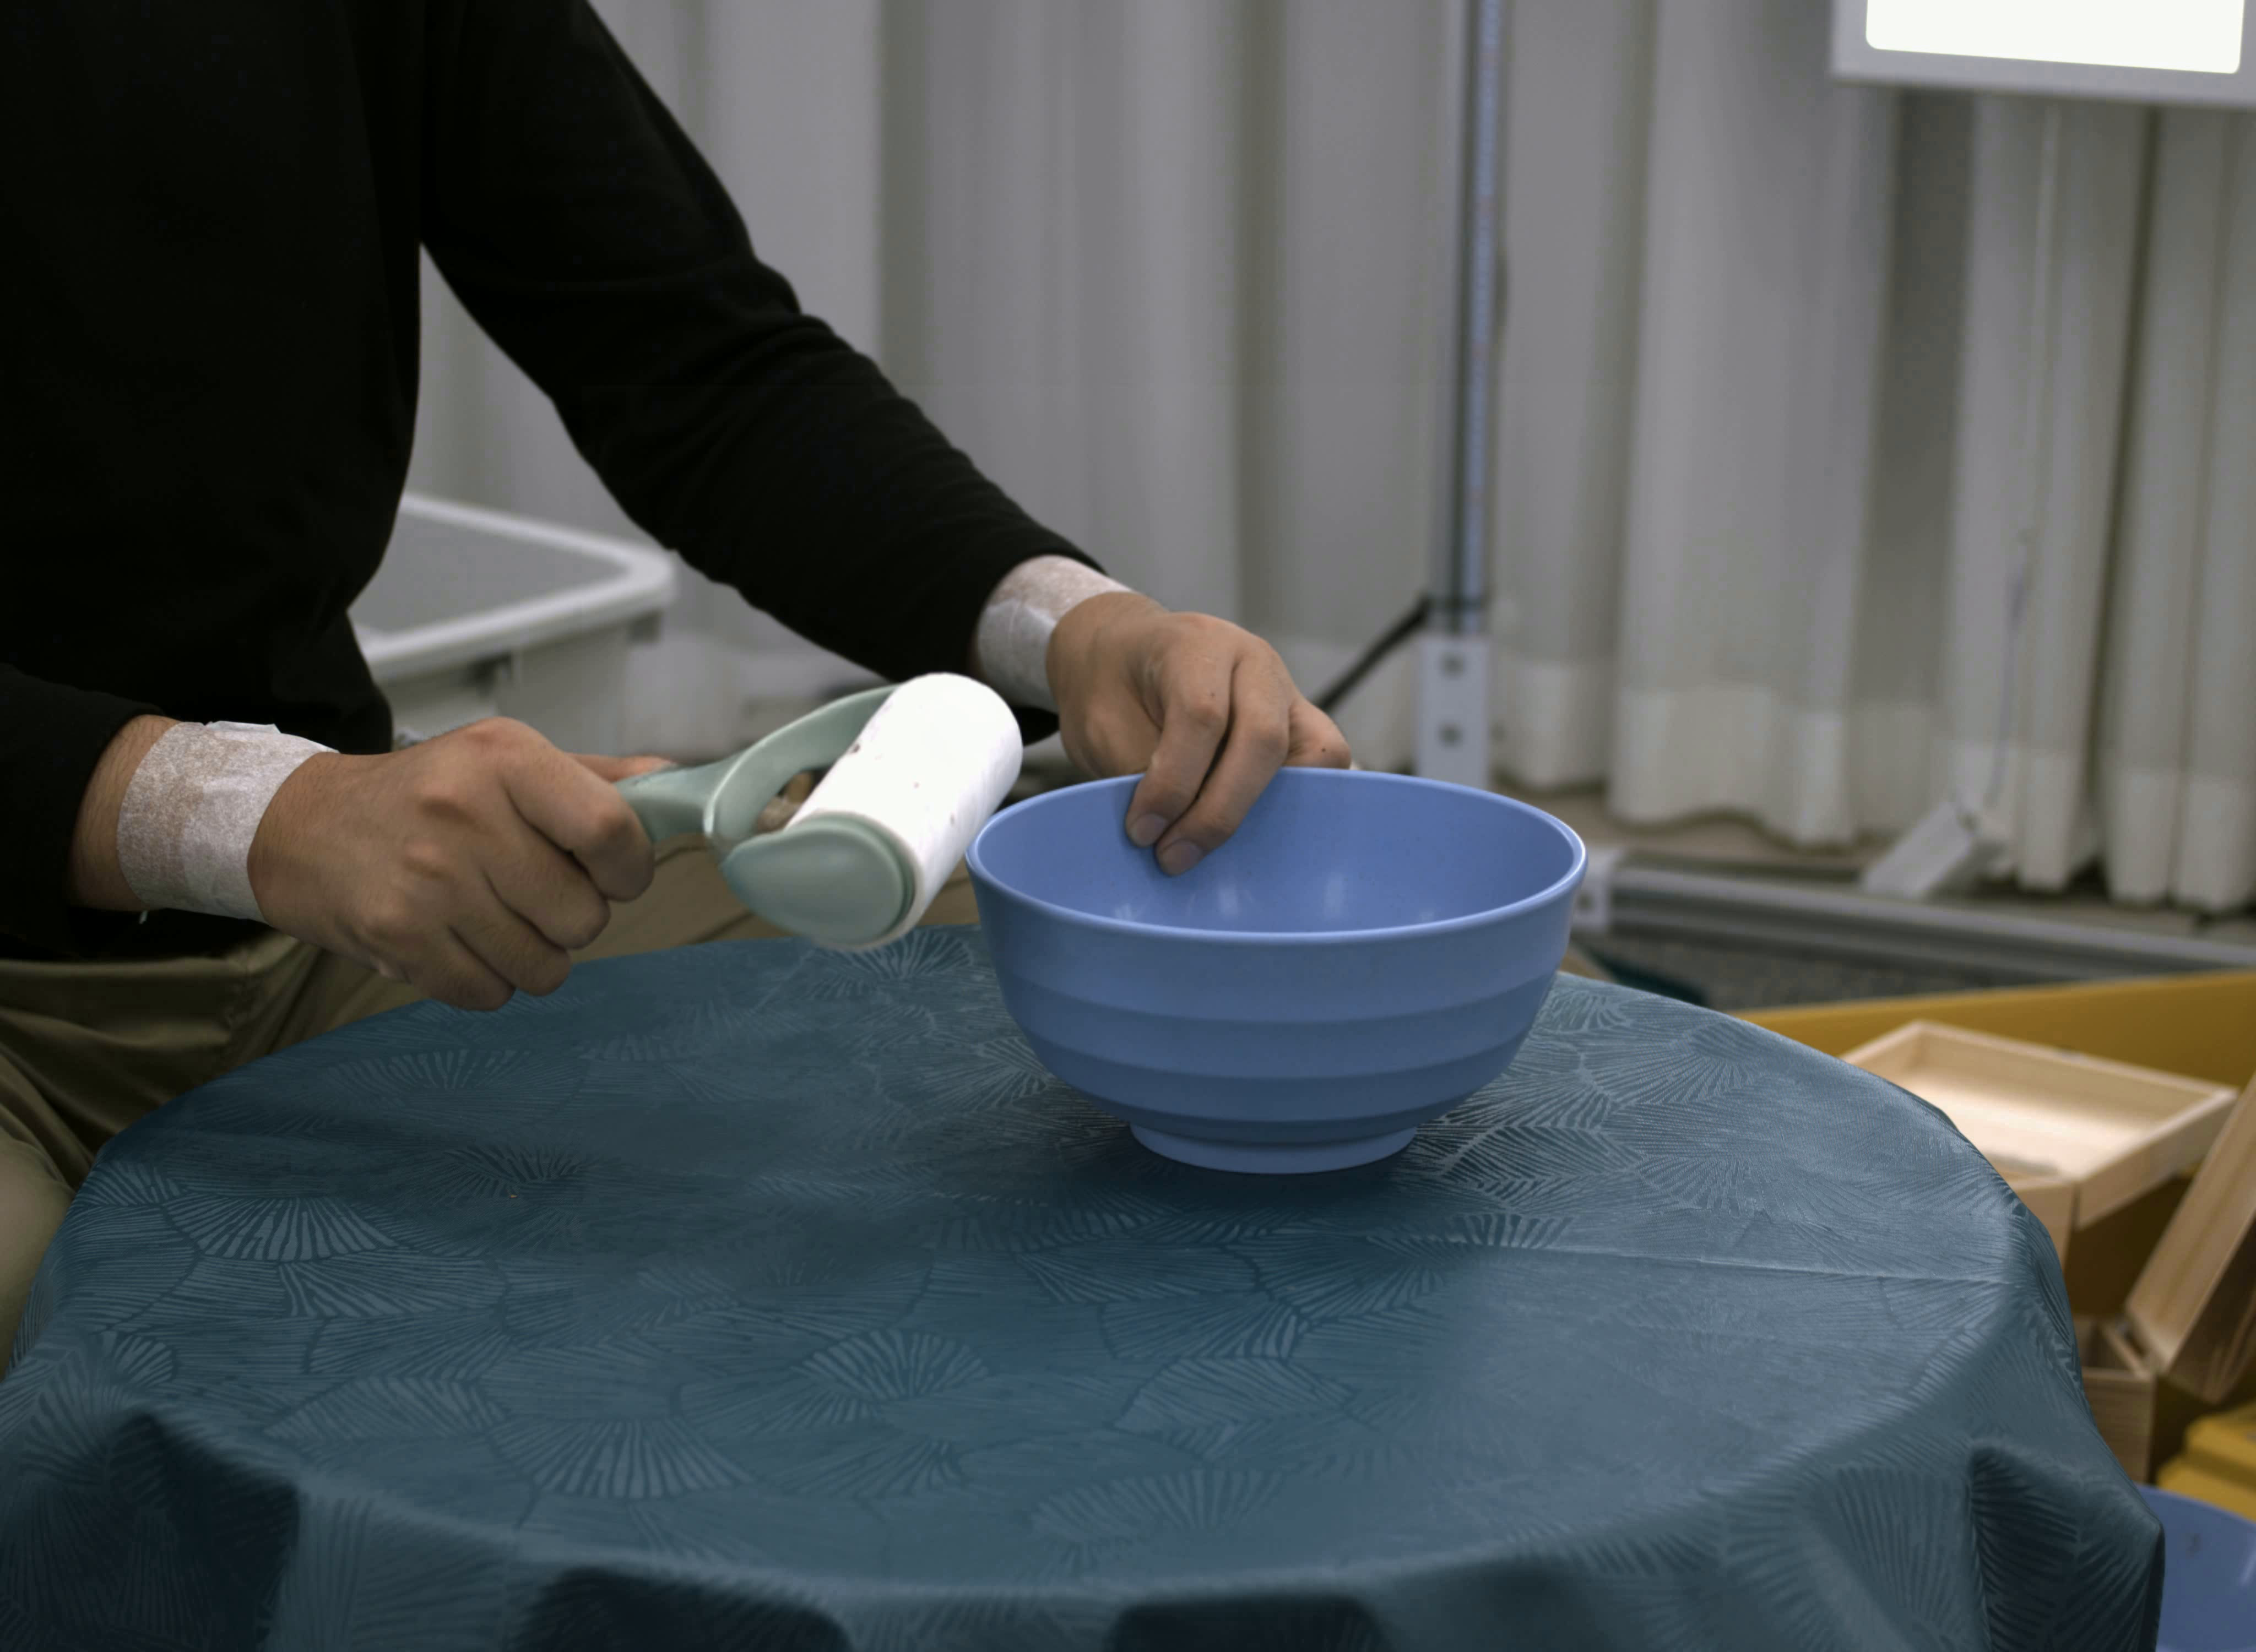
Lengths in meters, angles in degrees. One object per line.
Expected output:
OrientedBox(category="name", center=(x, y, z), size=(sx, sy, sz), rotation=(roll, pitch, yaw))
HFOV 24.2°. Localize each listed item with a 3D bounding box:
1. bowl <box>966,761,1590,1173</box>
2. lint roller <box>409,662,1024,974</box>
OrientedBox(category="bowl", center=(0.047, 0.050, 1.666), size=(0.196, 0.096, 0.195), rotation=(0, 17, 1))
OrientedBox(category="lint roller", center=(-0.133, 0.004, 1.586), size=(0.196, 0.049, 0.116), rotation=(-9, 23, 22))
